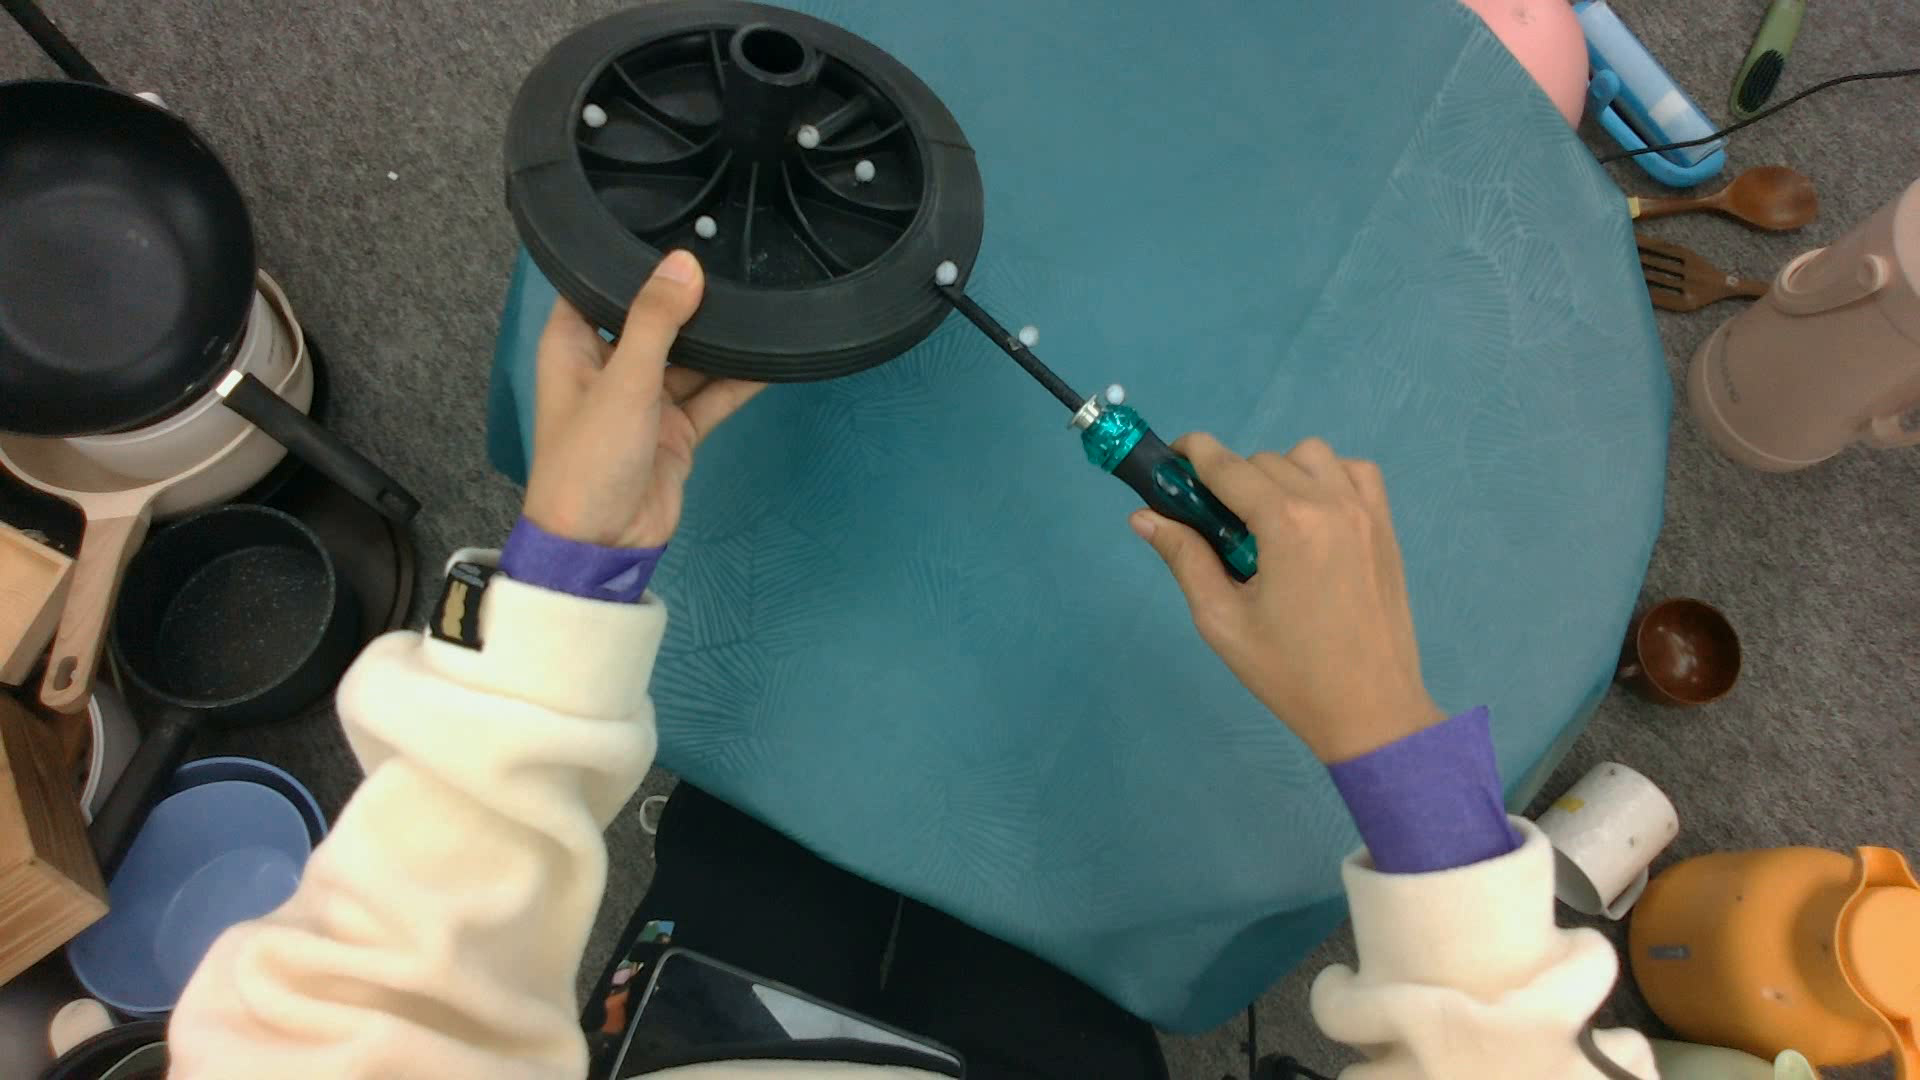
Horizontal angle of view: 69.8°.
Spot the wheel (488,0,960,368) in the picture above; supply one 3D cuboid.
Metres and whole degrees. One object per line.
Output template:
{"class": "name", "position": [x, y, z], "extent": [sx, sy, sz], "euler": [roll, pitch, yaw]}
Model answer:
{"class": "wheel", "position": [-0.085, -0.160, 0.536], "extent": [0.187, 0.078, 0.191], "euler": [22, 54, -6]}

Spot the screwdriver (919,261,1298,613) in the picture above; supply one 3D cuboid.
{"class": "screwdriver", "position": [0.054, -0.043, 0.532], "extent": [0.190, 0.033, 0.034], "euler": [43, 75, 3]}
